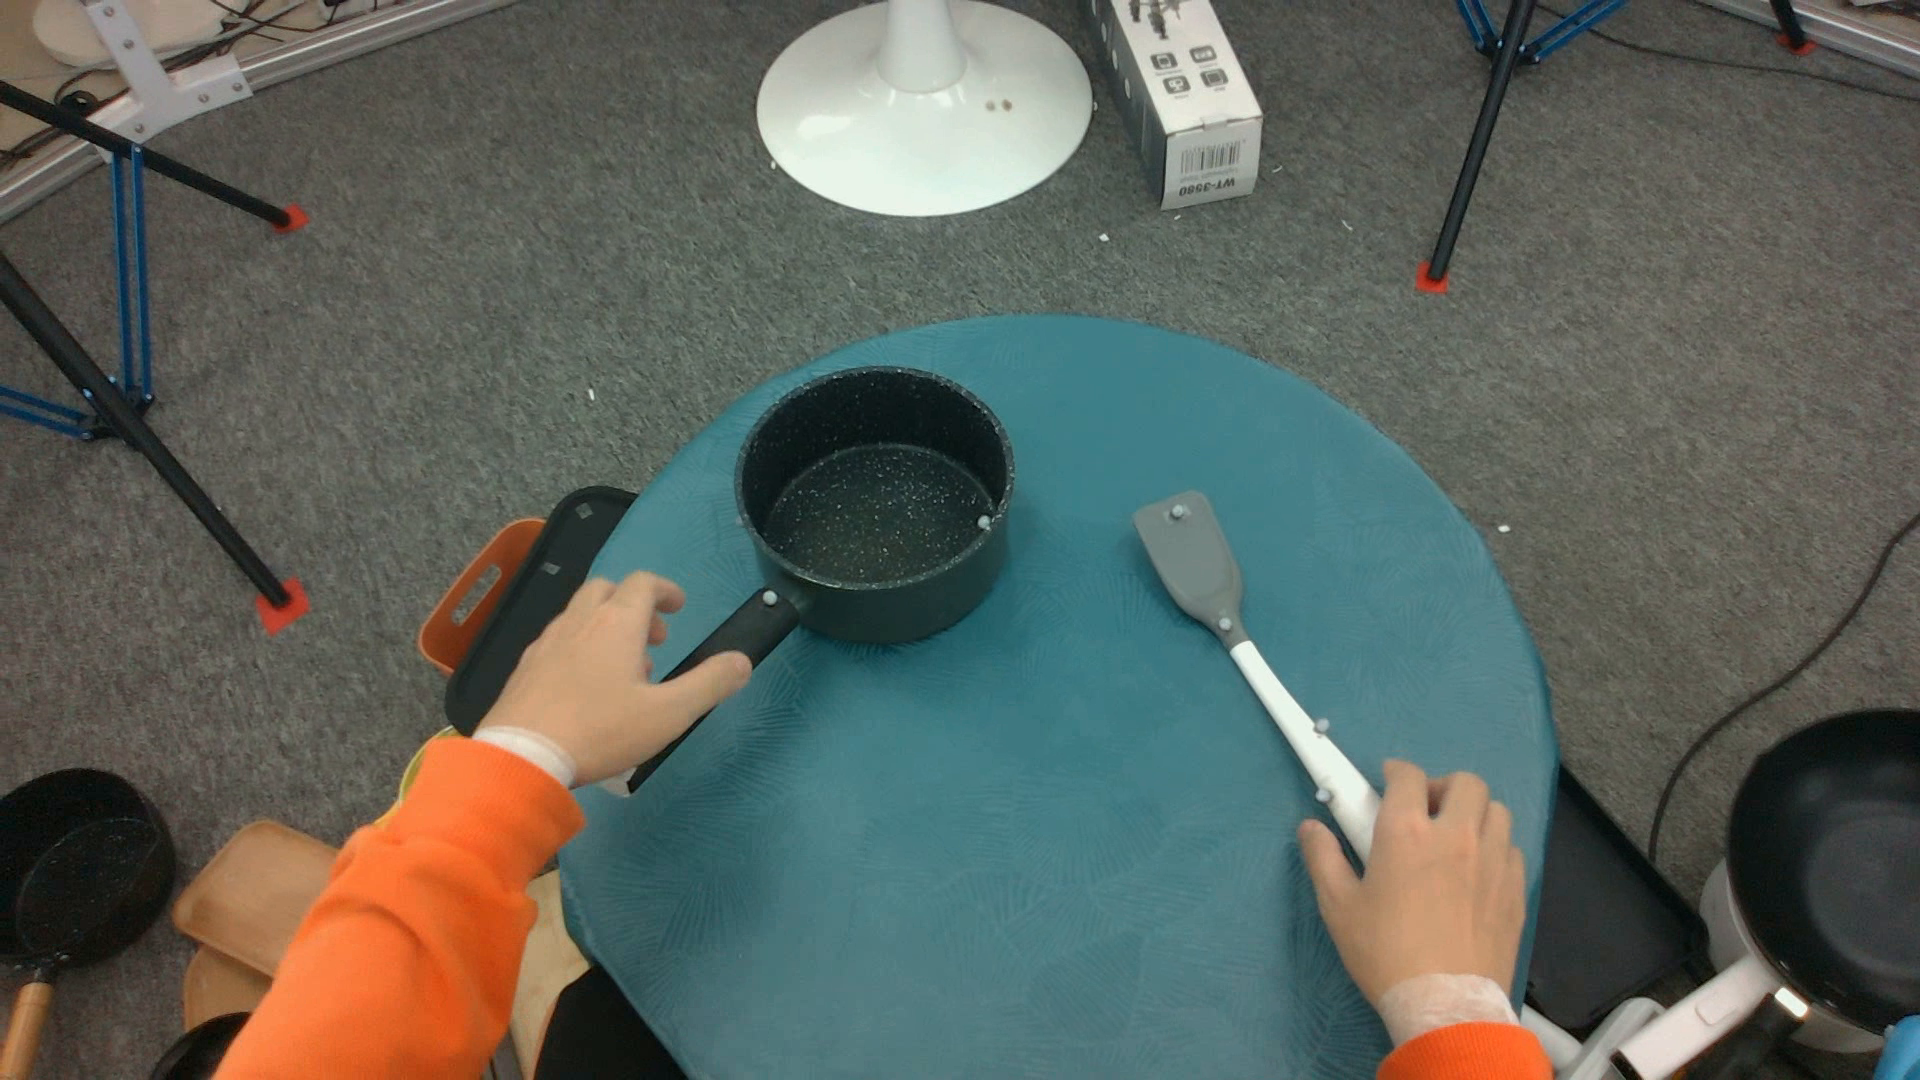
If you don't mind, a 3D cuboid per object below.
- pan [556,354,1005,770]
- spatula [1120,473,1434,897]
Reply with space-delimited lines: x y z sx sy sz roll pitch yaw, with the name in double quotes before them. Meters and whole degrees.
"pan" -0.104 0.024 0.822 0.172 0.086 0.330 29 59 21
"spatula" 0.182 0.076 0.813 0.059 0.032 0.288 -23 58 -9
